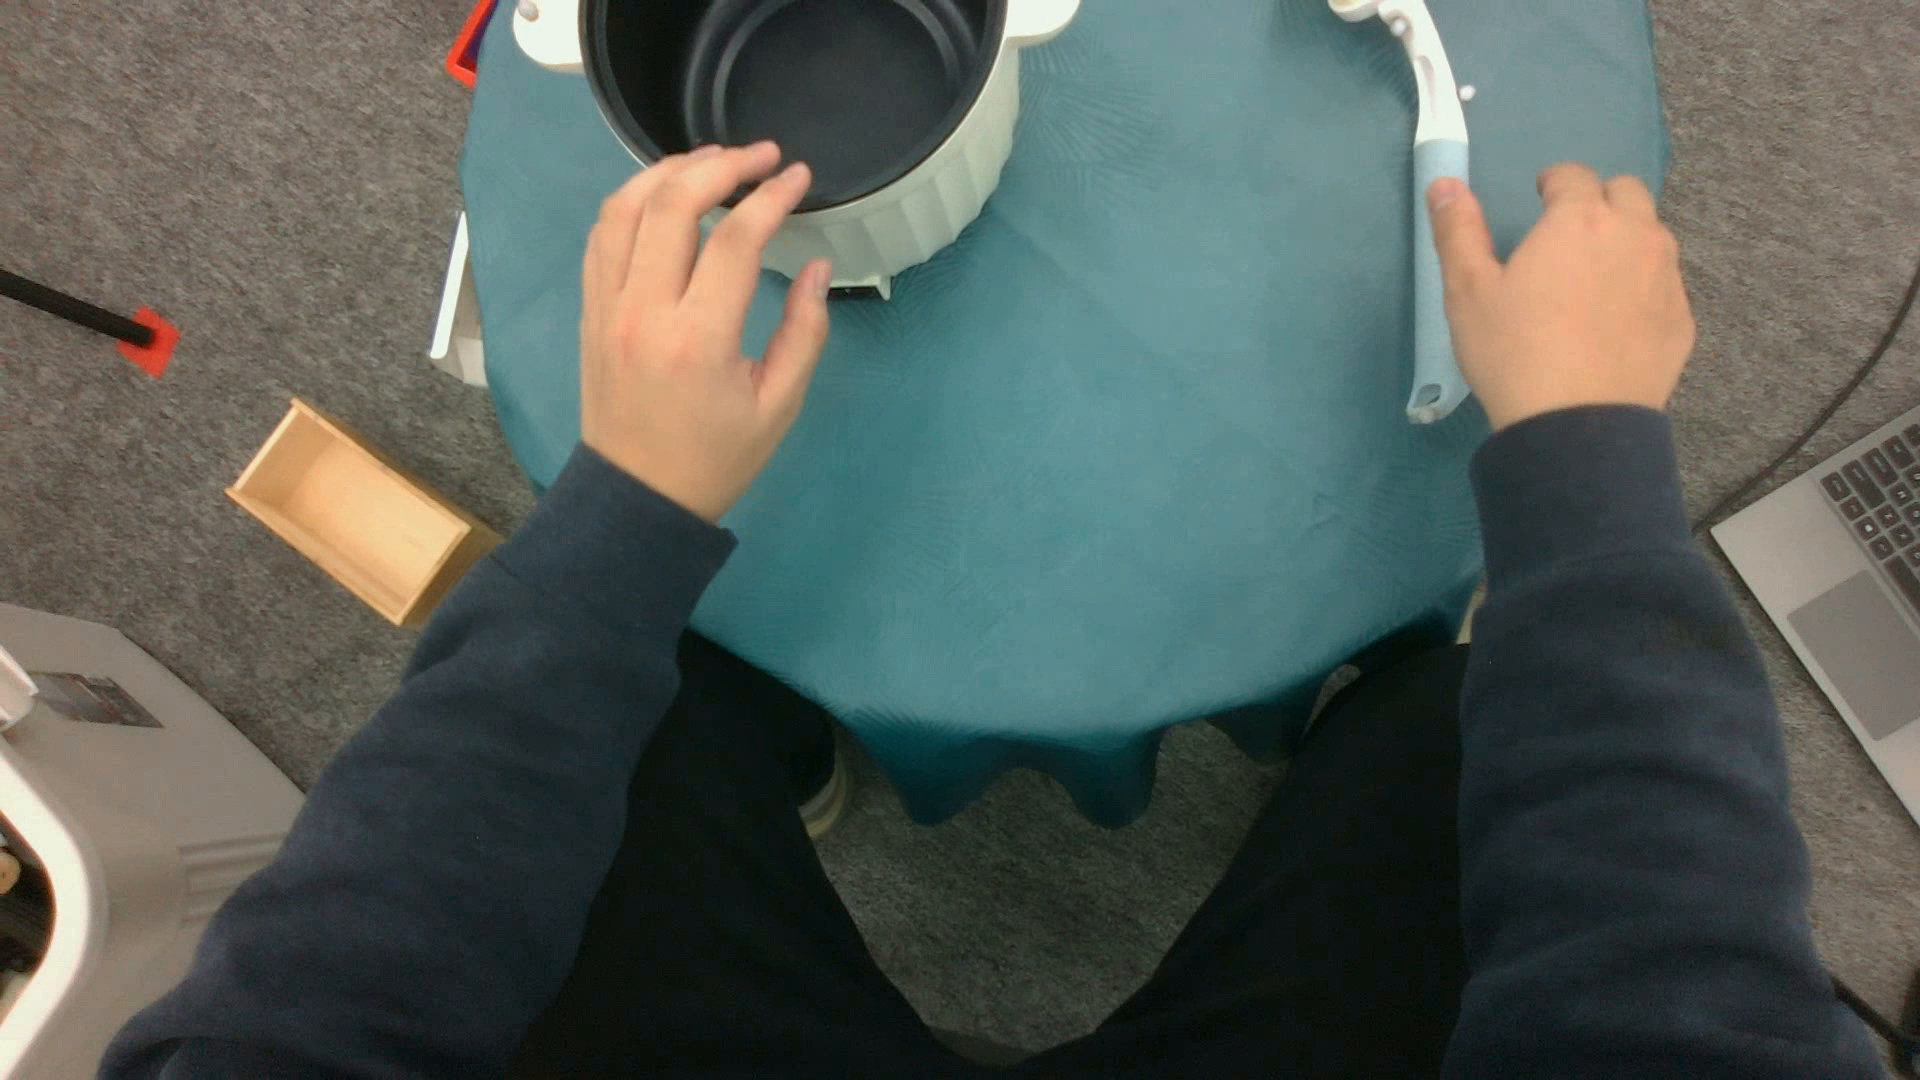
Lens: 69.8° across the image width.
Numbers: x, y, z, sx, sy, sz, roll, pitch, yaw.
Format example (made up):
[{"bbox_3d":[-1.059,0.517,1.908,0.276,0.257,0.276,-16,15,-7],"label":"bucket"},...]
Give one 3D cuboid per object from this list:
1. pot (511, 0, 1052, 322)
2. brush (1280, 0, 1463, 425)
[{"bbox_3d":[-0.073,-0.211,0.654,0.240,0.142,0.190,-5,85,6],"label":"pot"},{"bbox_3d":[0.192,-0.217,0.646,0.084,0.083,0.326,-1,81,1],"label":"brush"}]
